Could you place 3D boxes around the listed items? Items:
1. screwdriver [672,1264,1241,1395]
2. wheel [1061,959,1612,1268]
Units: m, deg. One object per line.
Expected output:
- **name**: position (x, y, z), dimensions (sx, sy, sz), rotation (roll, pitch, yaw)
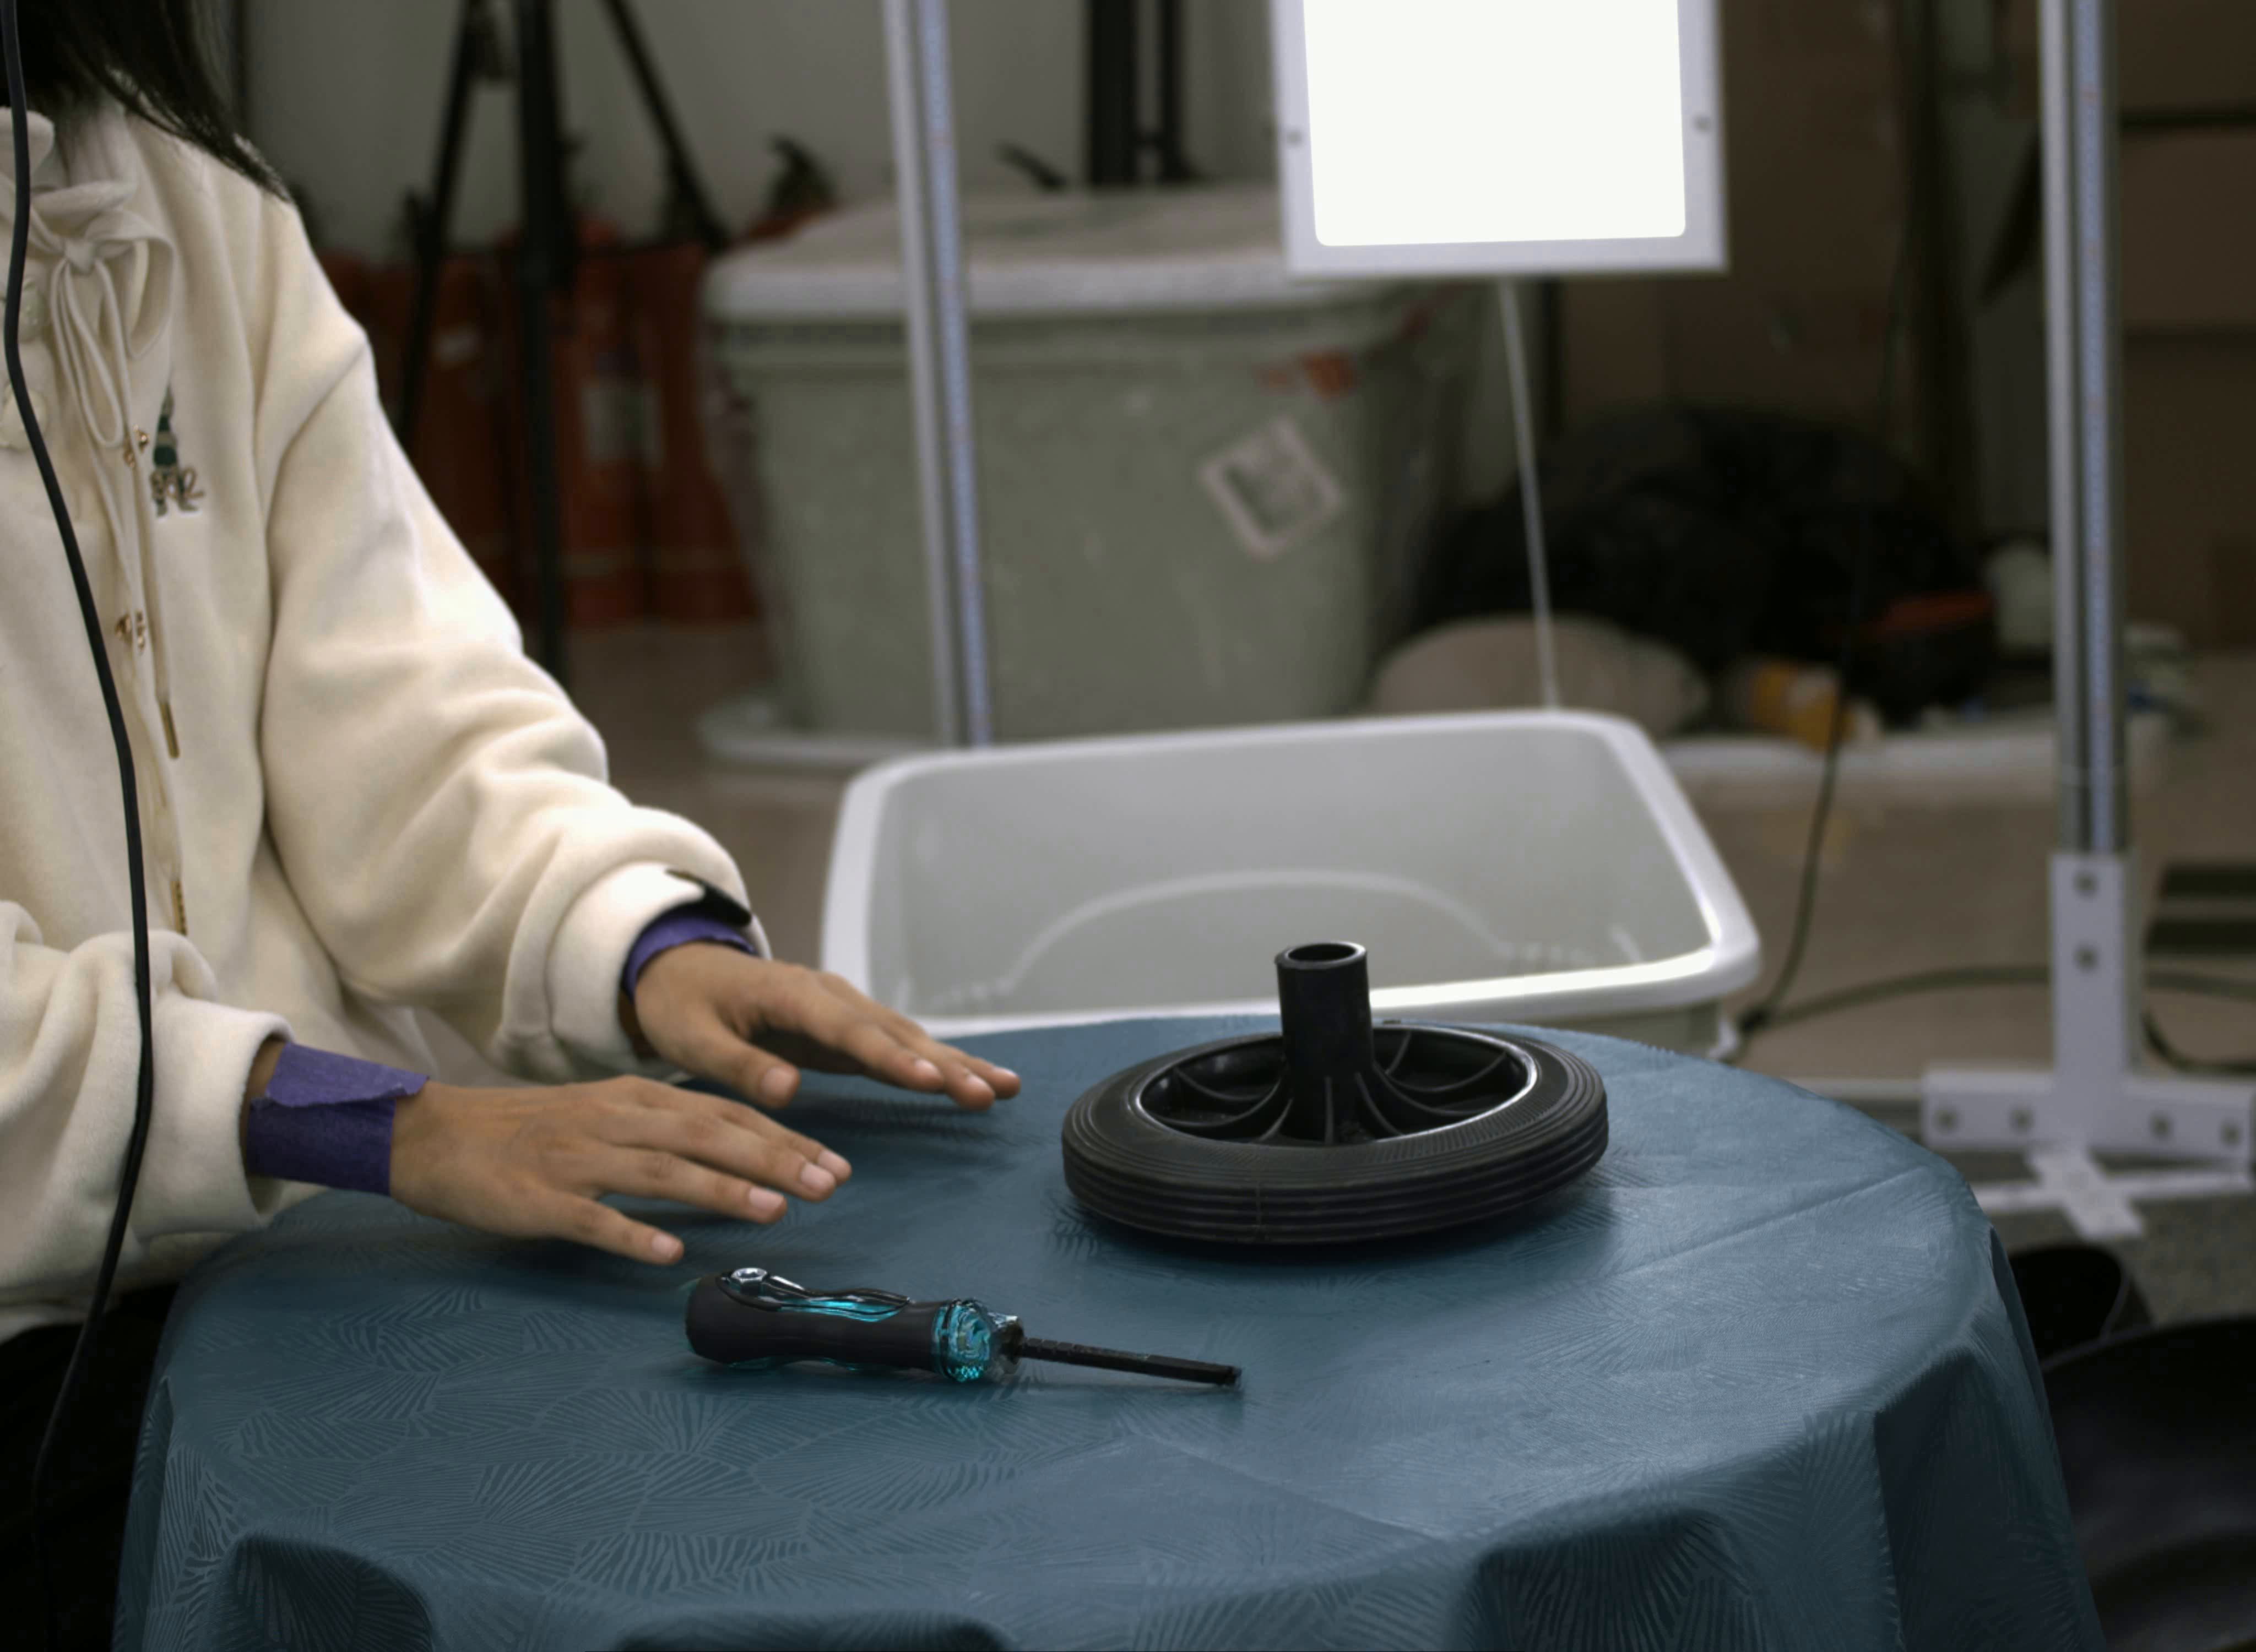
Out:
- **screwdriver**: position (-0.054, 0.163, 1.725), dimensions (0.192, 0.034, 0.033), rotation (6, 17, 22)
- **wheel**: position (0.071, 0.088, 1.876), dimensions (0.183, 0.079, 0.193), rotation (-14, 21, -33)
